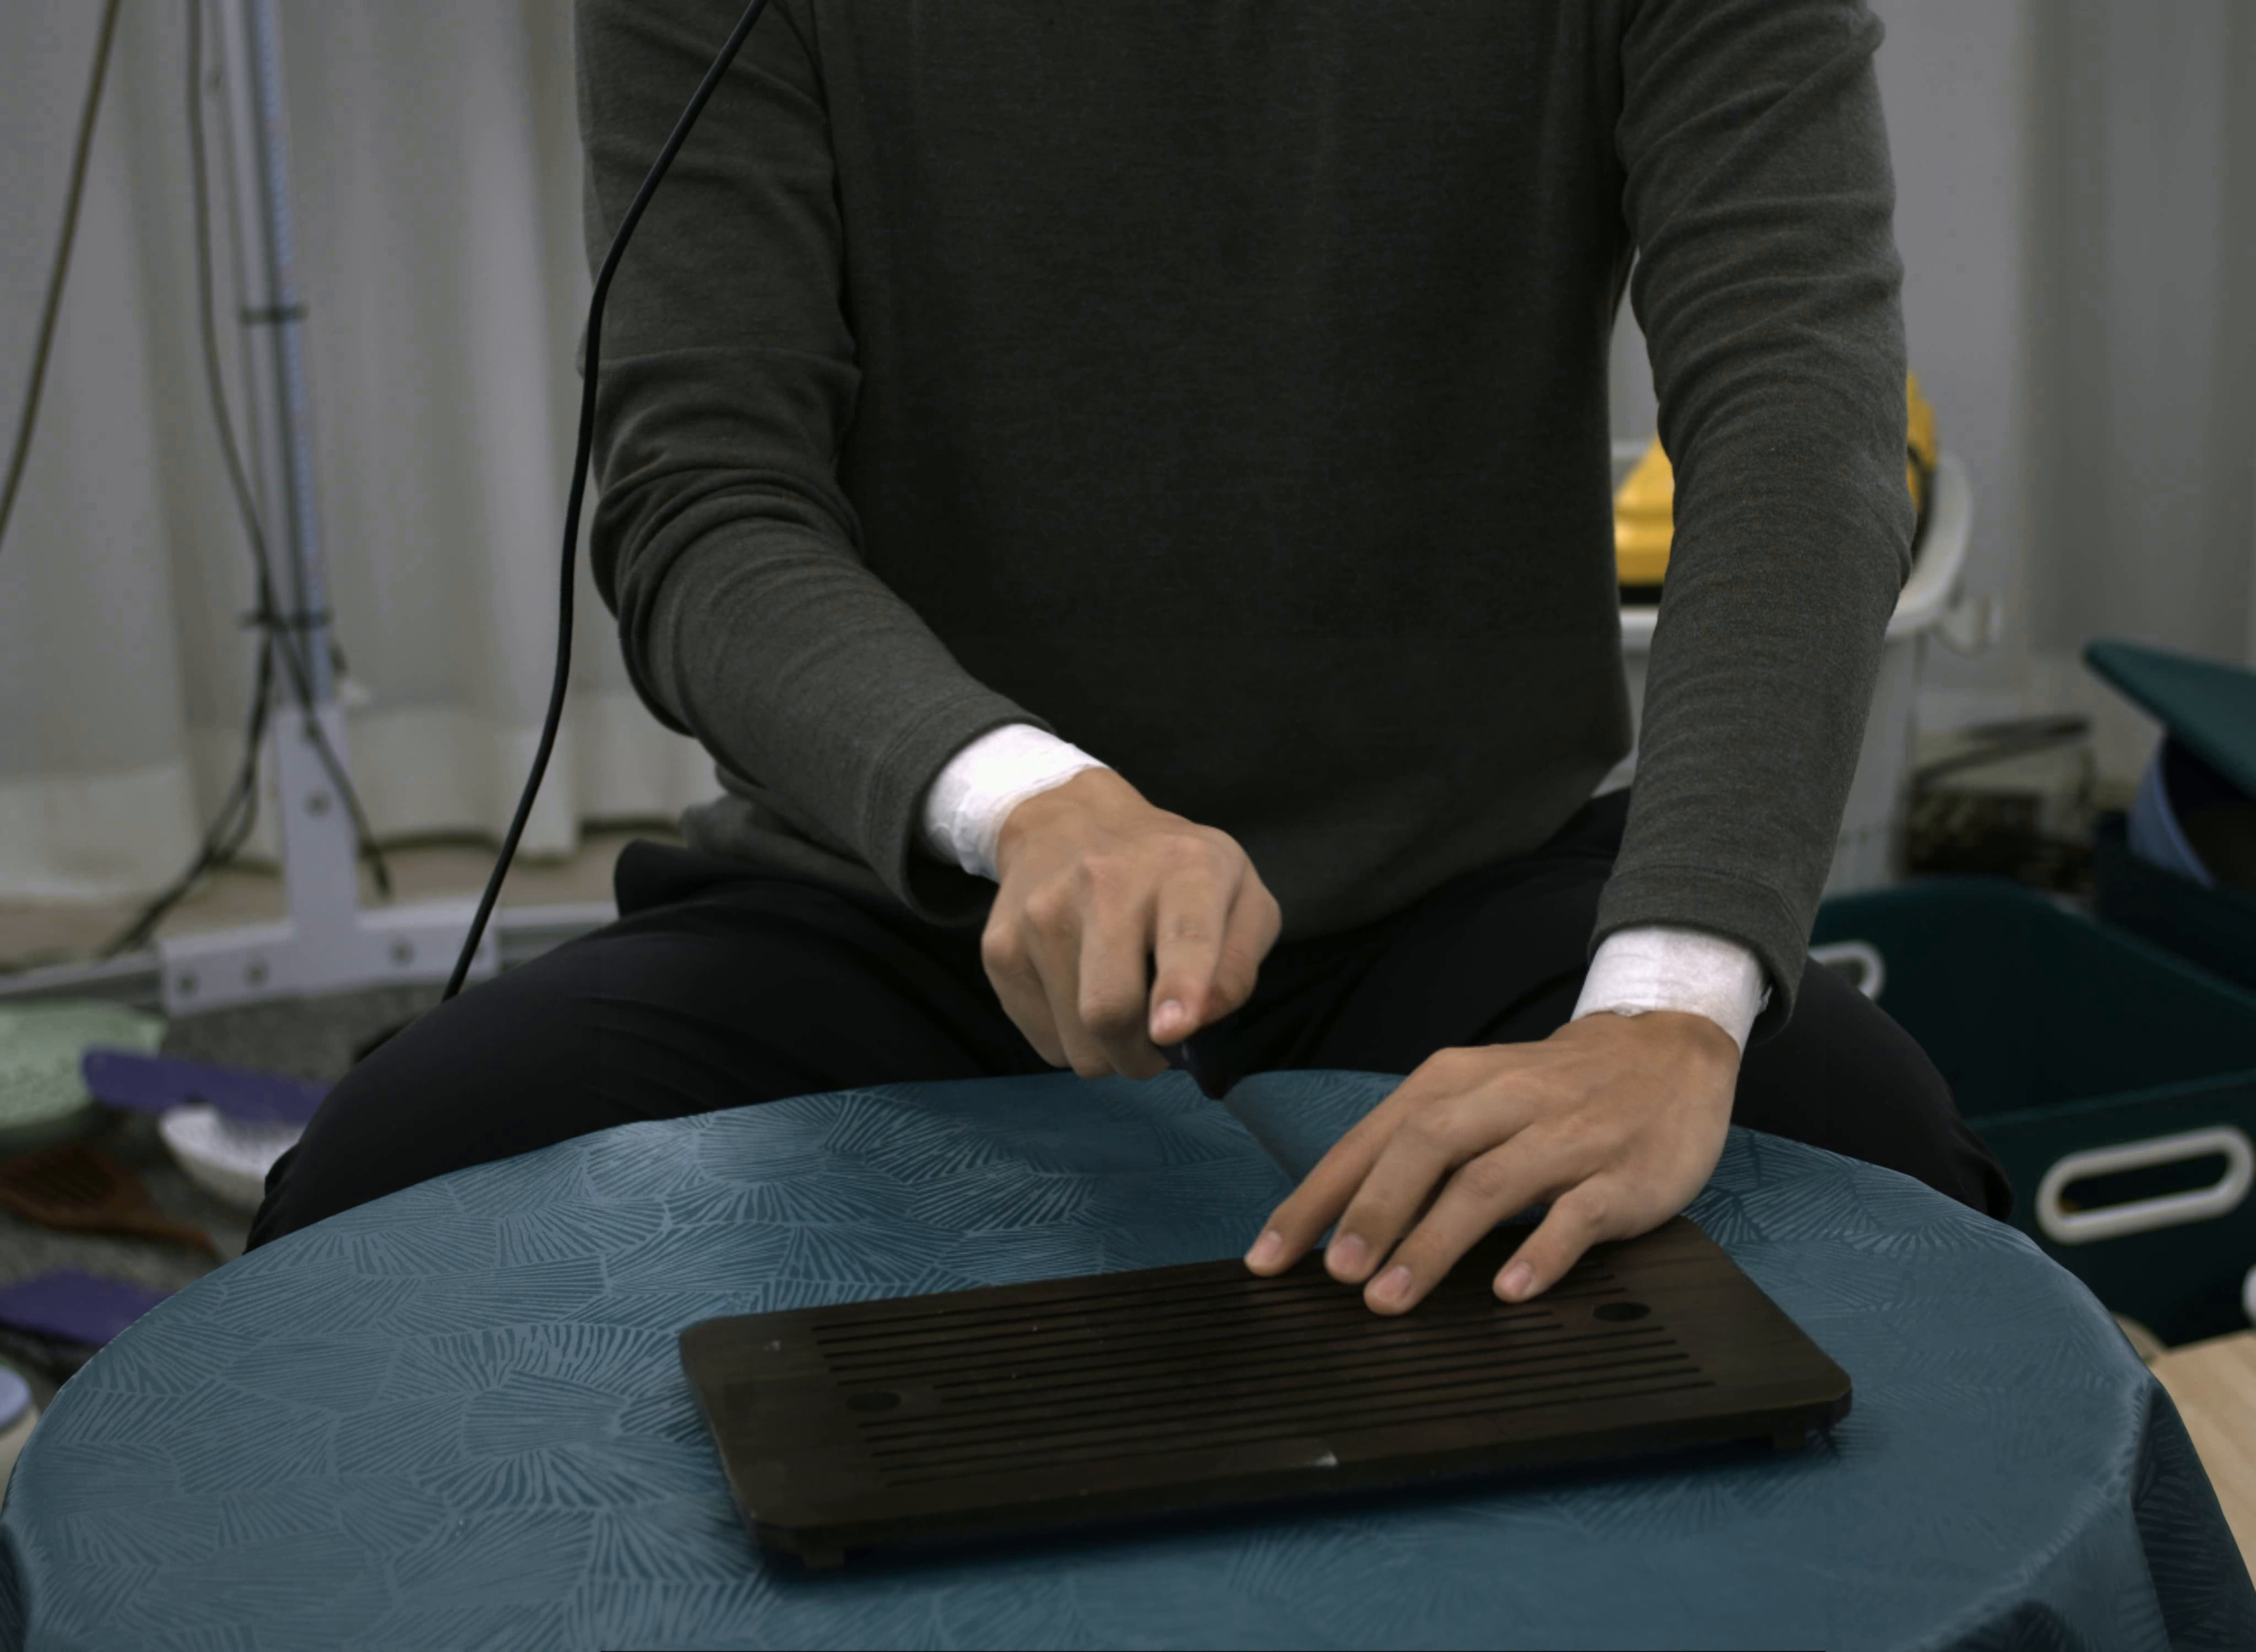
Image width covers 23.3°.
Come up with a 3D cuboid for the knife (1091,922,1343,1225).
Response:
[{"bbox_3d":[0.026,0.070,1.588,0.016,0.024,0.240,-5,18,-15],"label":"knife"}]

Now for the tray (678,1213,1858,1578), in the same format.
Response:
[{"bbox_3d":[0.035,0.157,1.519,0.304,0.018,0.171,-6,14,-11],"label":"tray"}]
